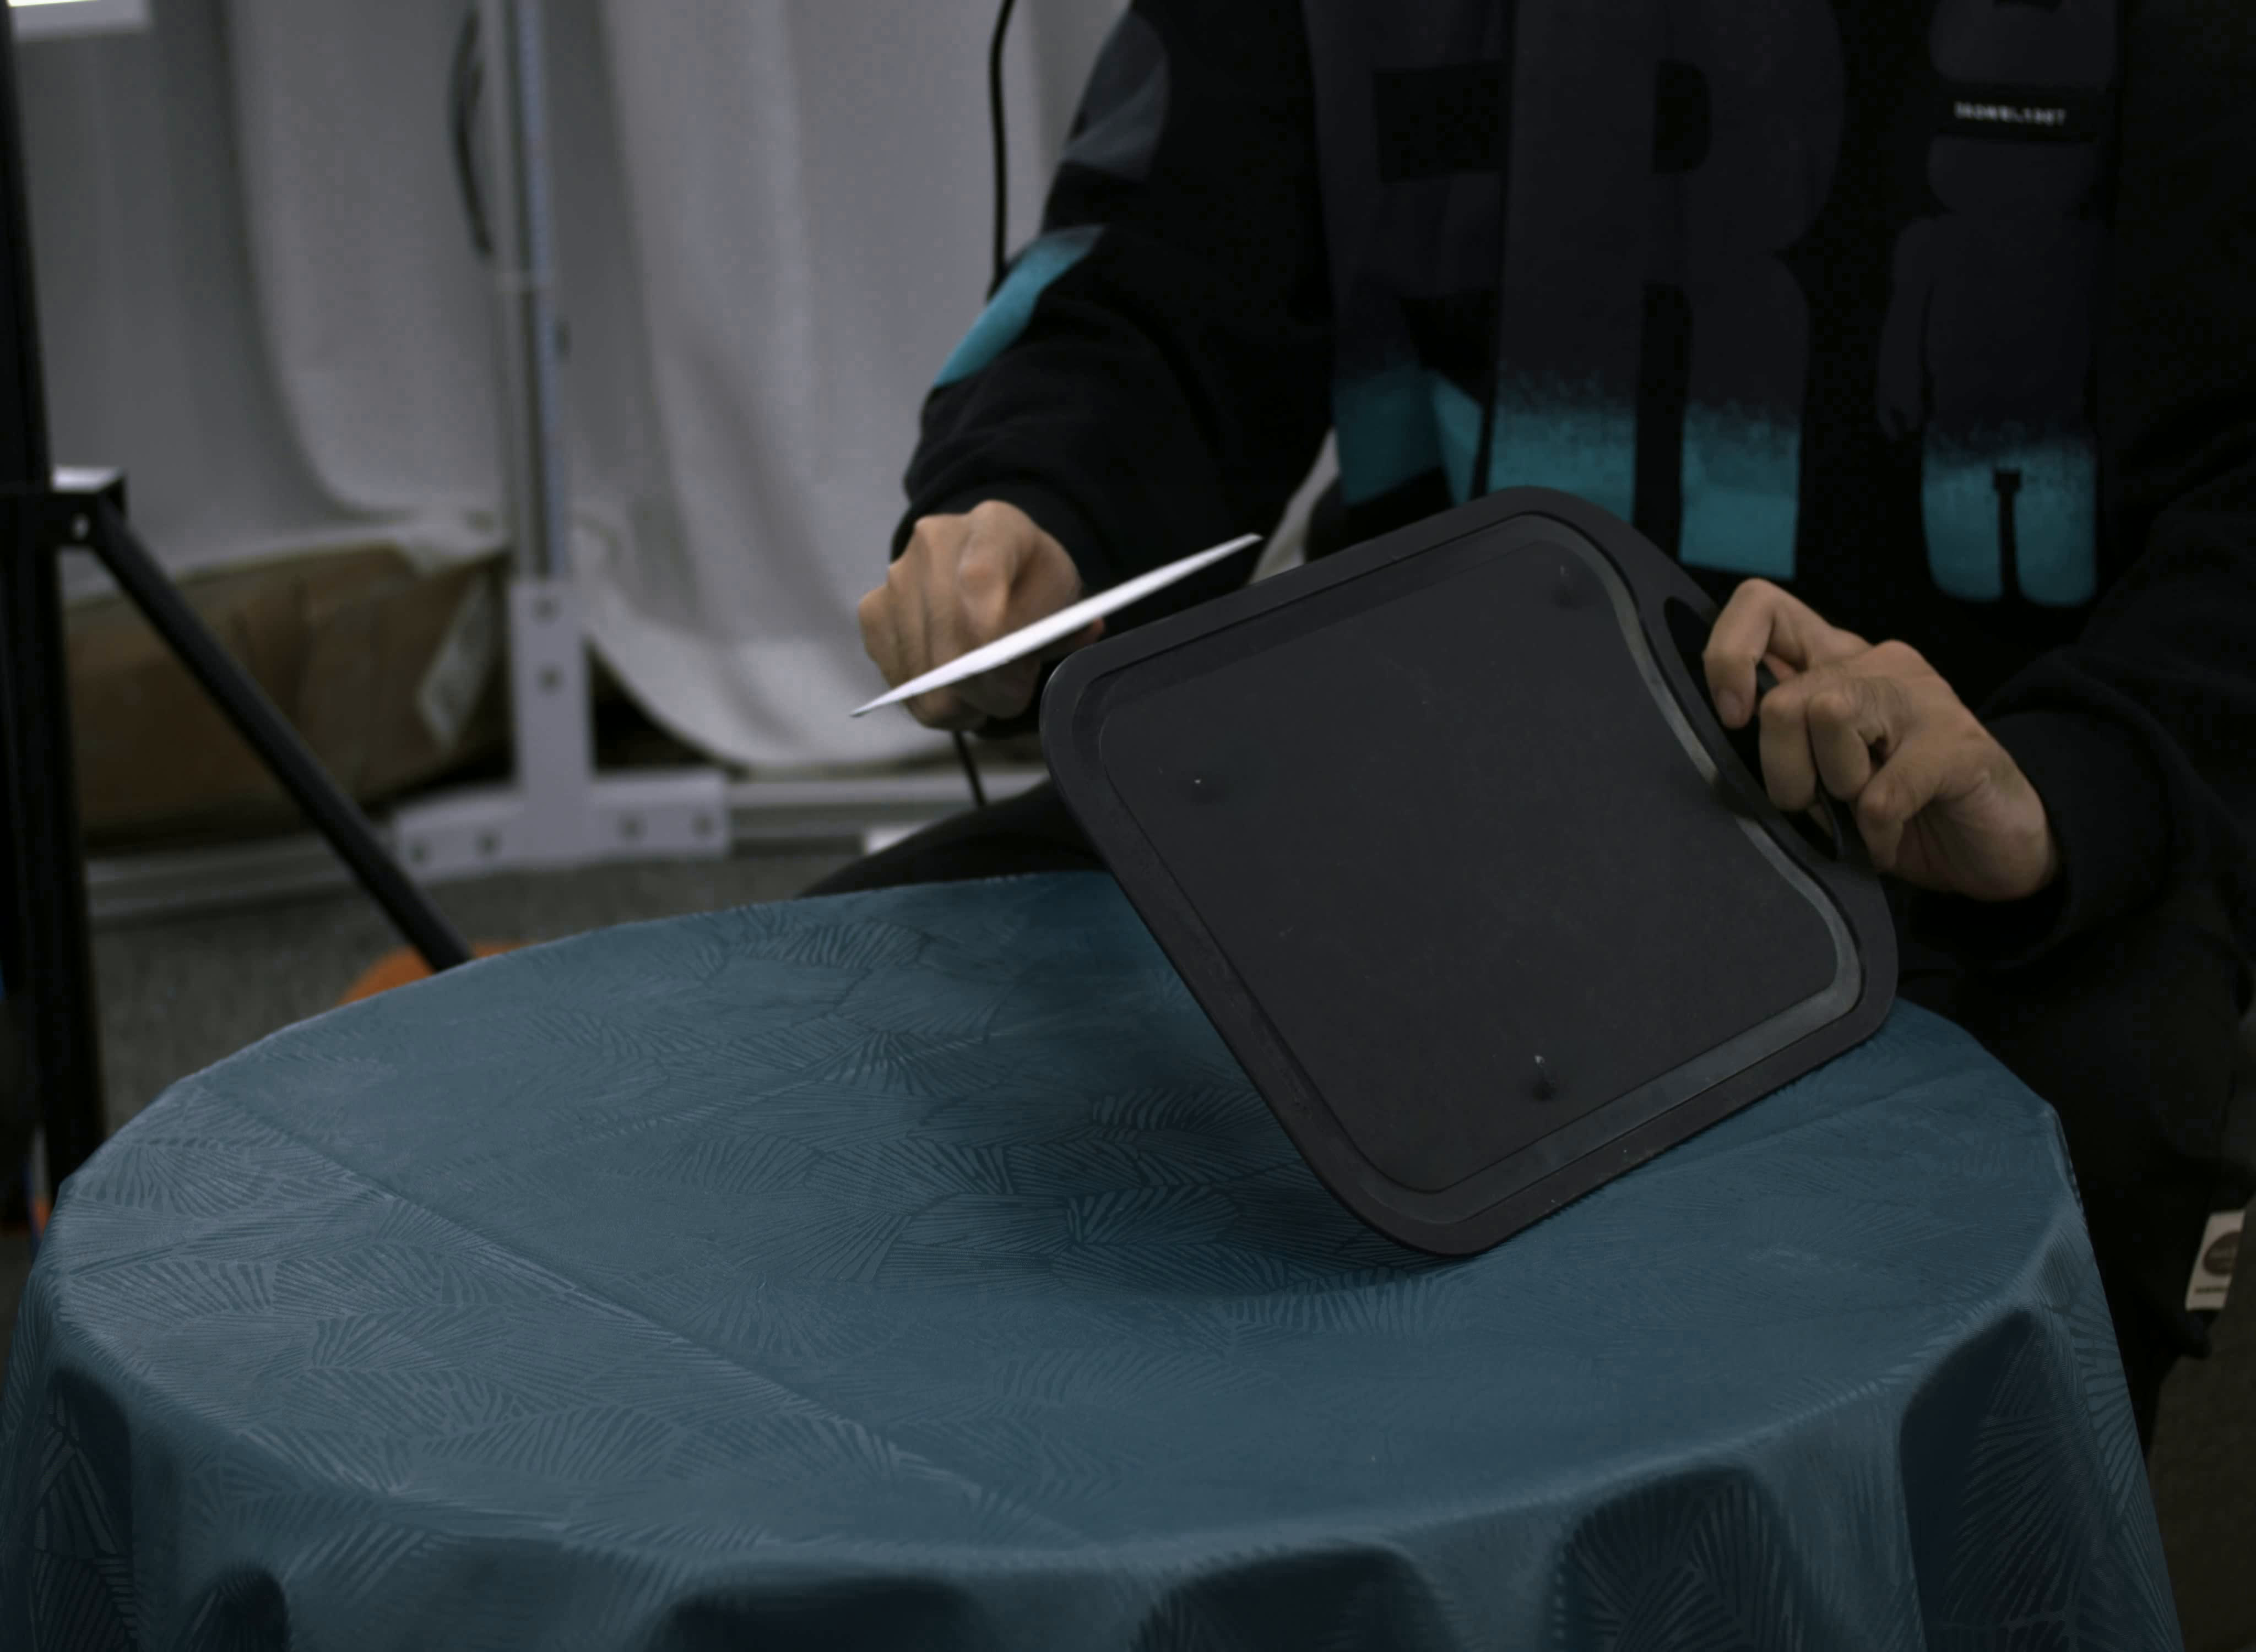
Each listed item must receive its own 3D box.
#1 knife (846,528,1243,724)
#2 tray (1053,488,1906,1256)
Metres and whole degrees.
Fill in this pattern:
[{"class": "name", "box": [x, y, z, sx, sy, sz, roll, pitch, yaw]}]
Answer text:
[{"class": "knife", "box": [-0.044, -0.058, 1.719, 0.092, 0.021, 0.309, -27, 4, -16]}, {"class": "tray", "box": [0.118, 0.003, 1.602, 0.318, 0.213, 0.010, -21, -17, -47]}]
